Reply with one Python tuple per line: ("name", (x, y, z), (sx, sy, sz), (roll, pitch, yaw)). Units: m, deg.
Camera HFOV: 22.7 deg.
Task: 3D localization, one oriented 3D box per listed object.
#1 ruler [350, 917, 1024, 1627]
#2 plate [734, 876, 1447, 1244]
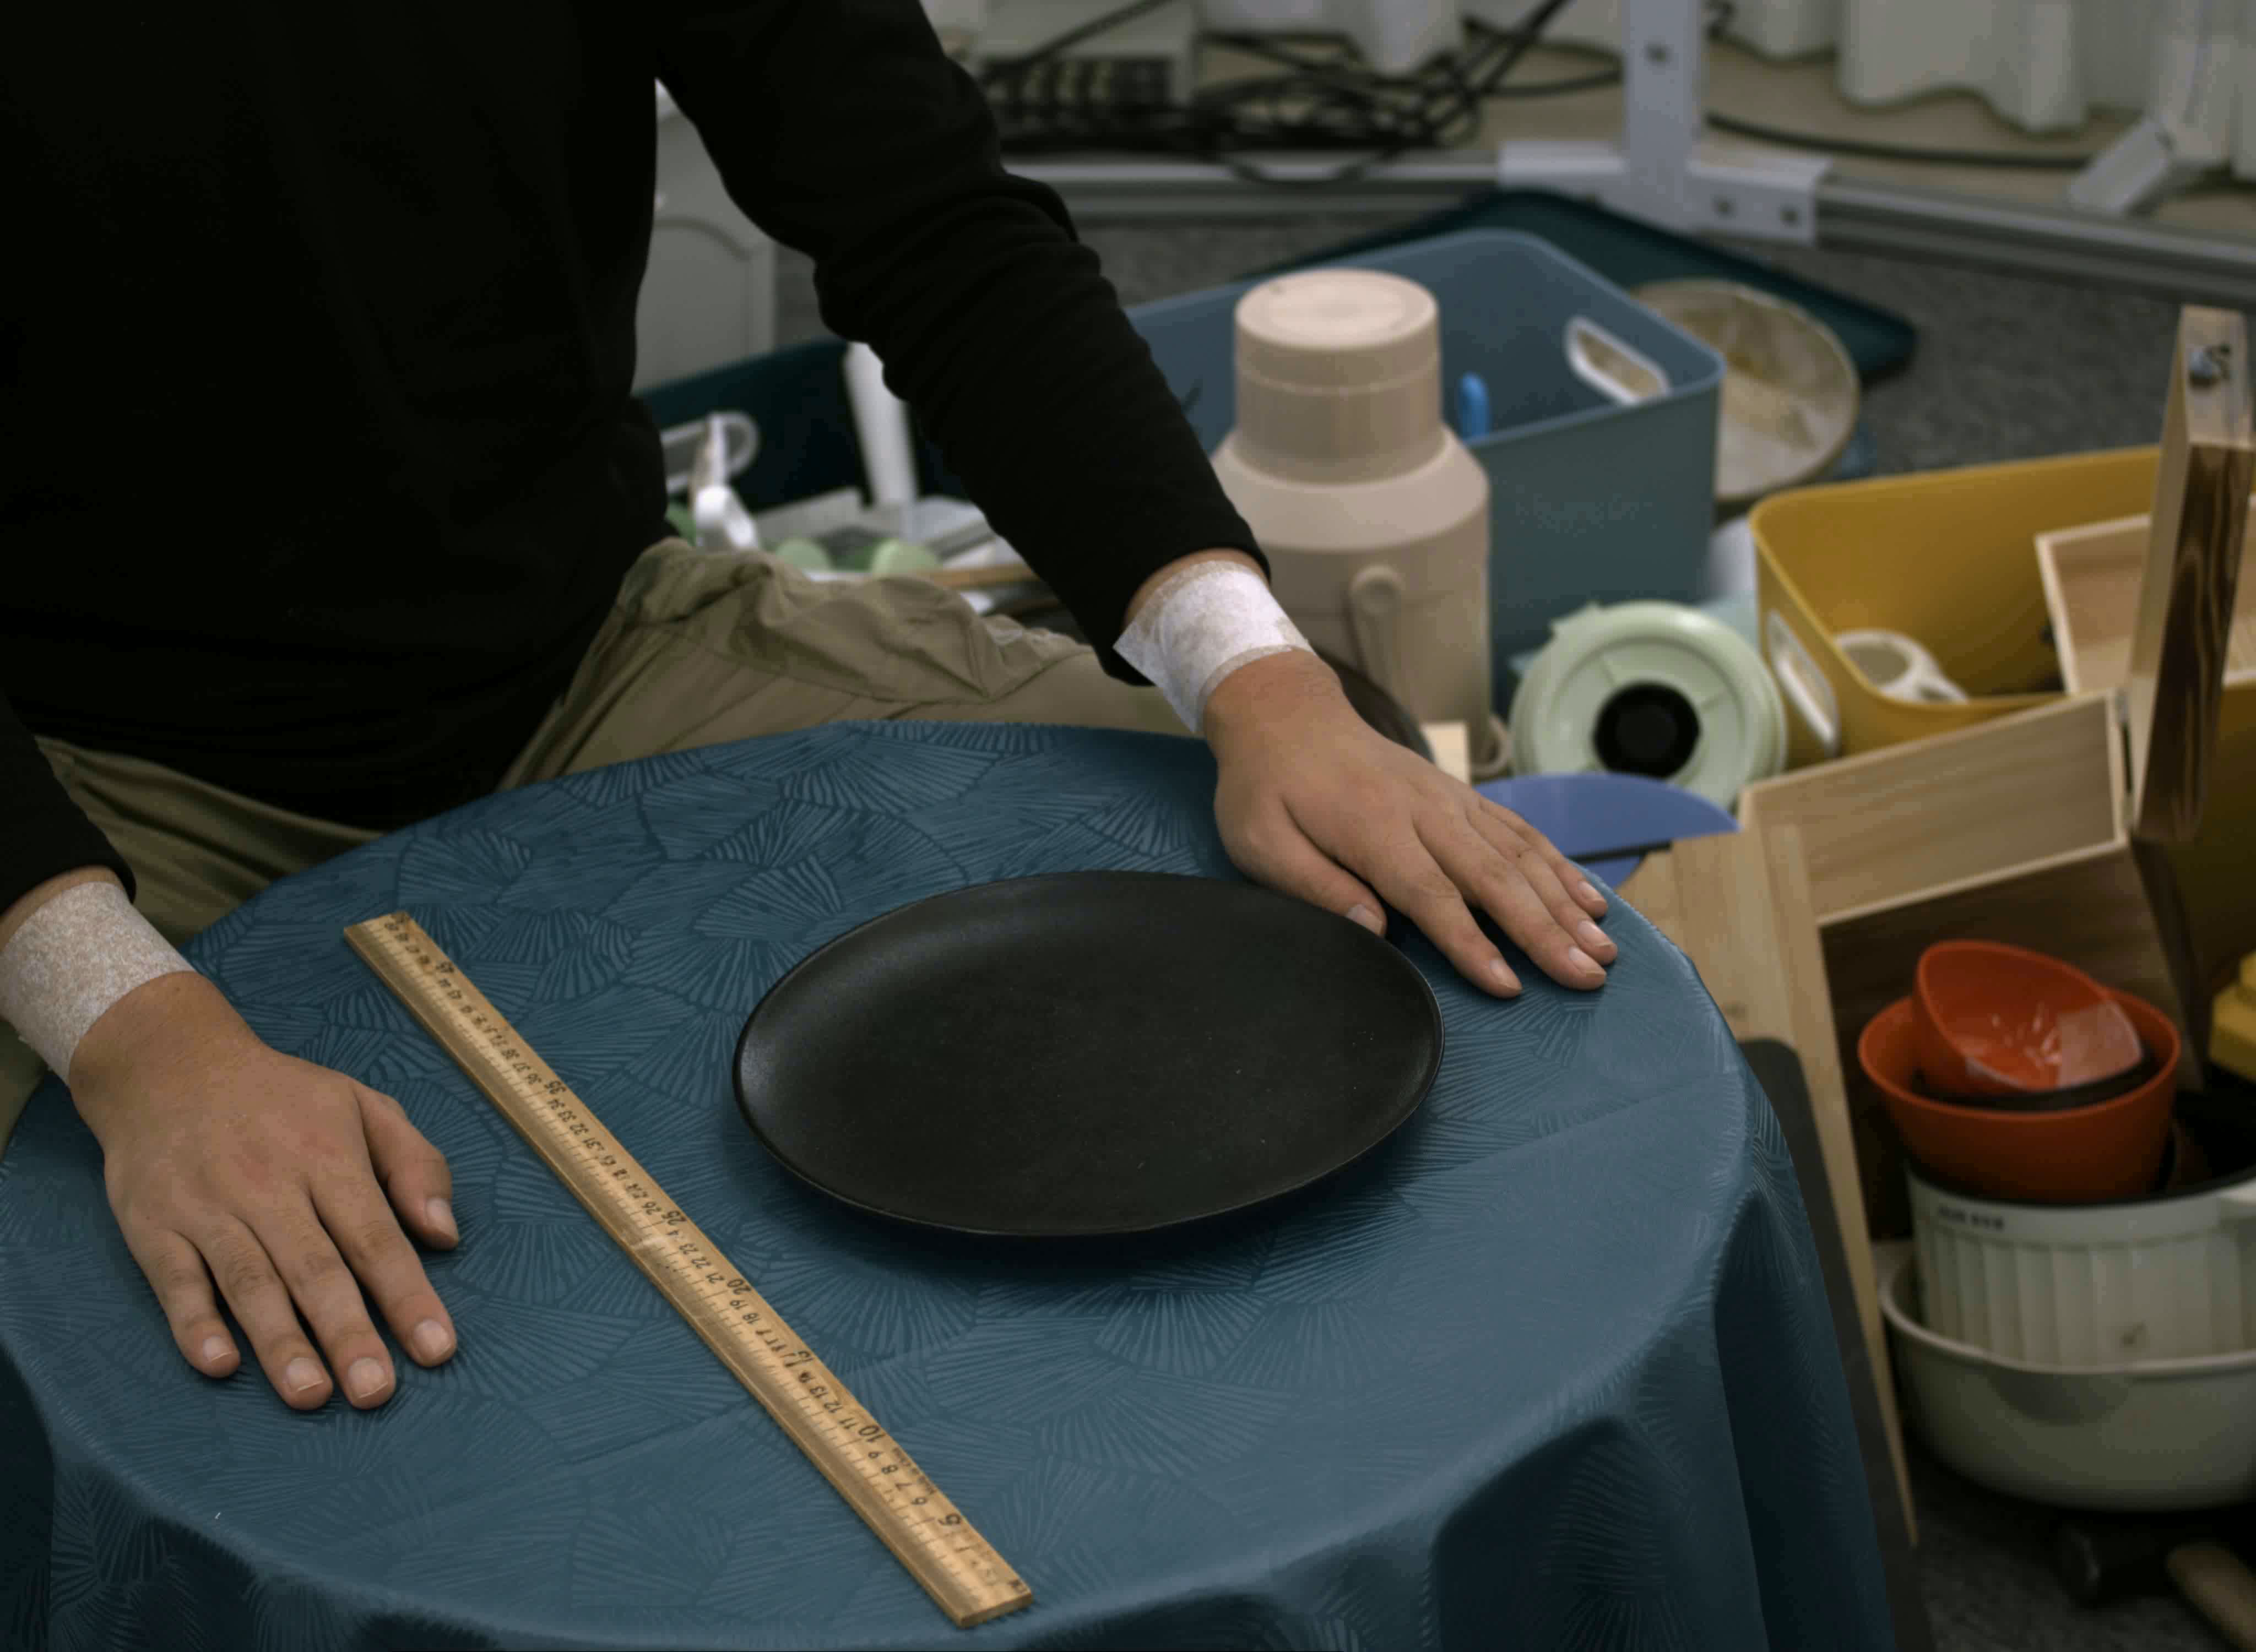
("ruler", (-0.156, 0.134, 1.847), (0.027, 0.006, 0.503), (-14, 29, -24))
("plate", (-0.012, 0.083, 1.912), (0.243, 0.023, 0.248), (-2, 27, 2))
